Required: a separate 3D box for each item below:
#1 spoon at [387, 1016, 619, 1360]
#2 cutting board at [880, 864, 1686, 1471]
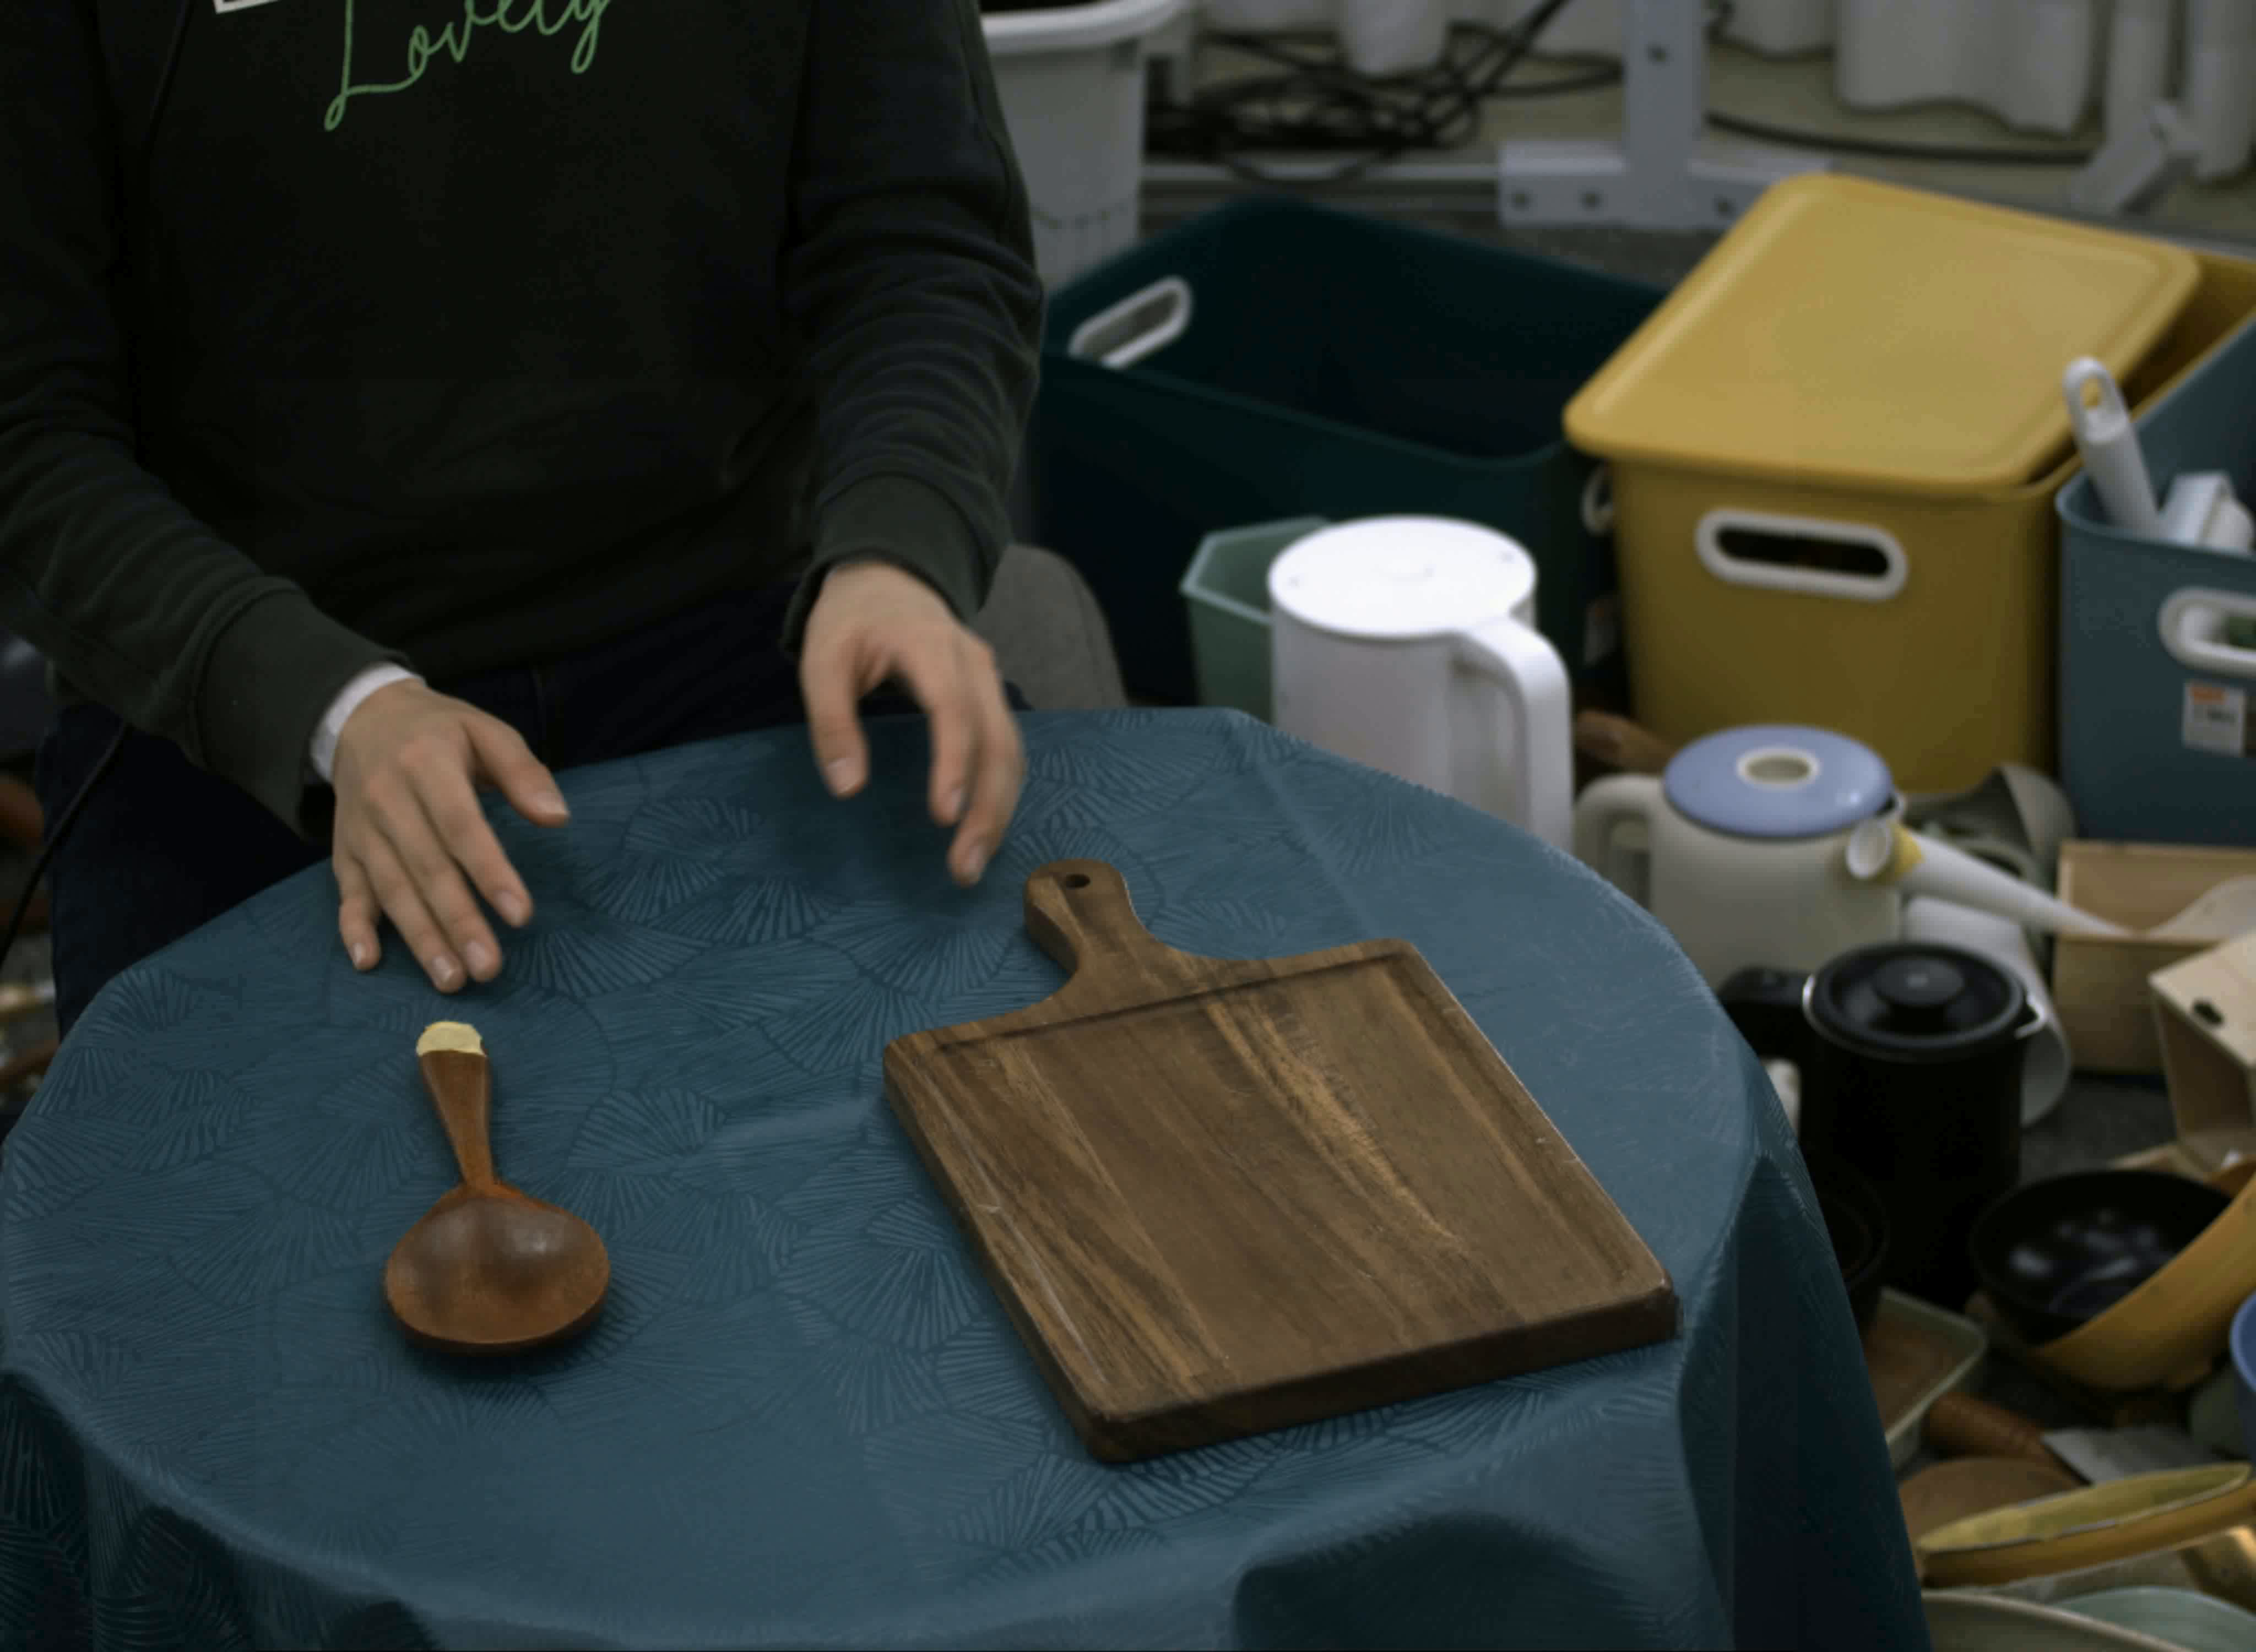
[{"bbox_3d":[-0.214,0.121,1.865,0.075,0.017,0.218,-9,28,-8],"label":"spoon"},{"bbox_3d":[0.030,0.097,1.886,0.201,0.023,0.355,-11,28,-14],"label":"cutting board"}]
